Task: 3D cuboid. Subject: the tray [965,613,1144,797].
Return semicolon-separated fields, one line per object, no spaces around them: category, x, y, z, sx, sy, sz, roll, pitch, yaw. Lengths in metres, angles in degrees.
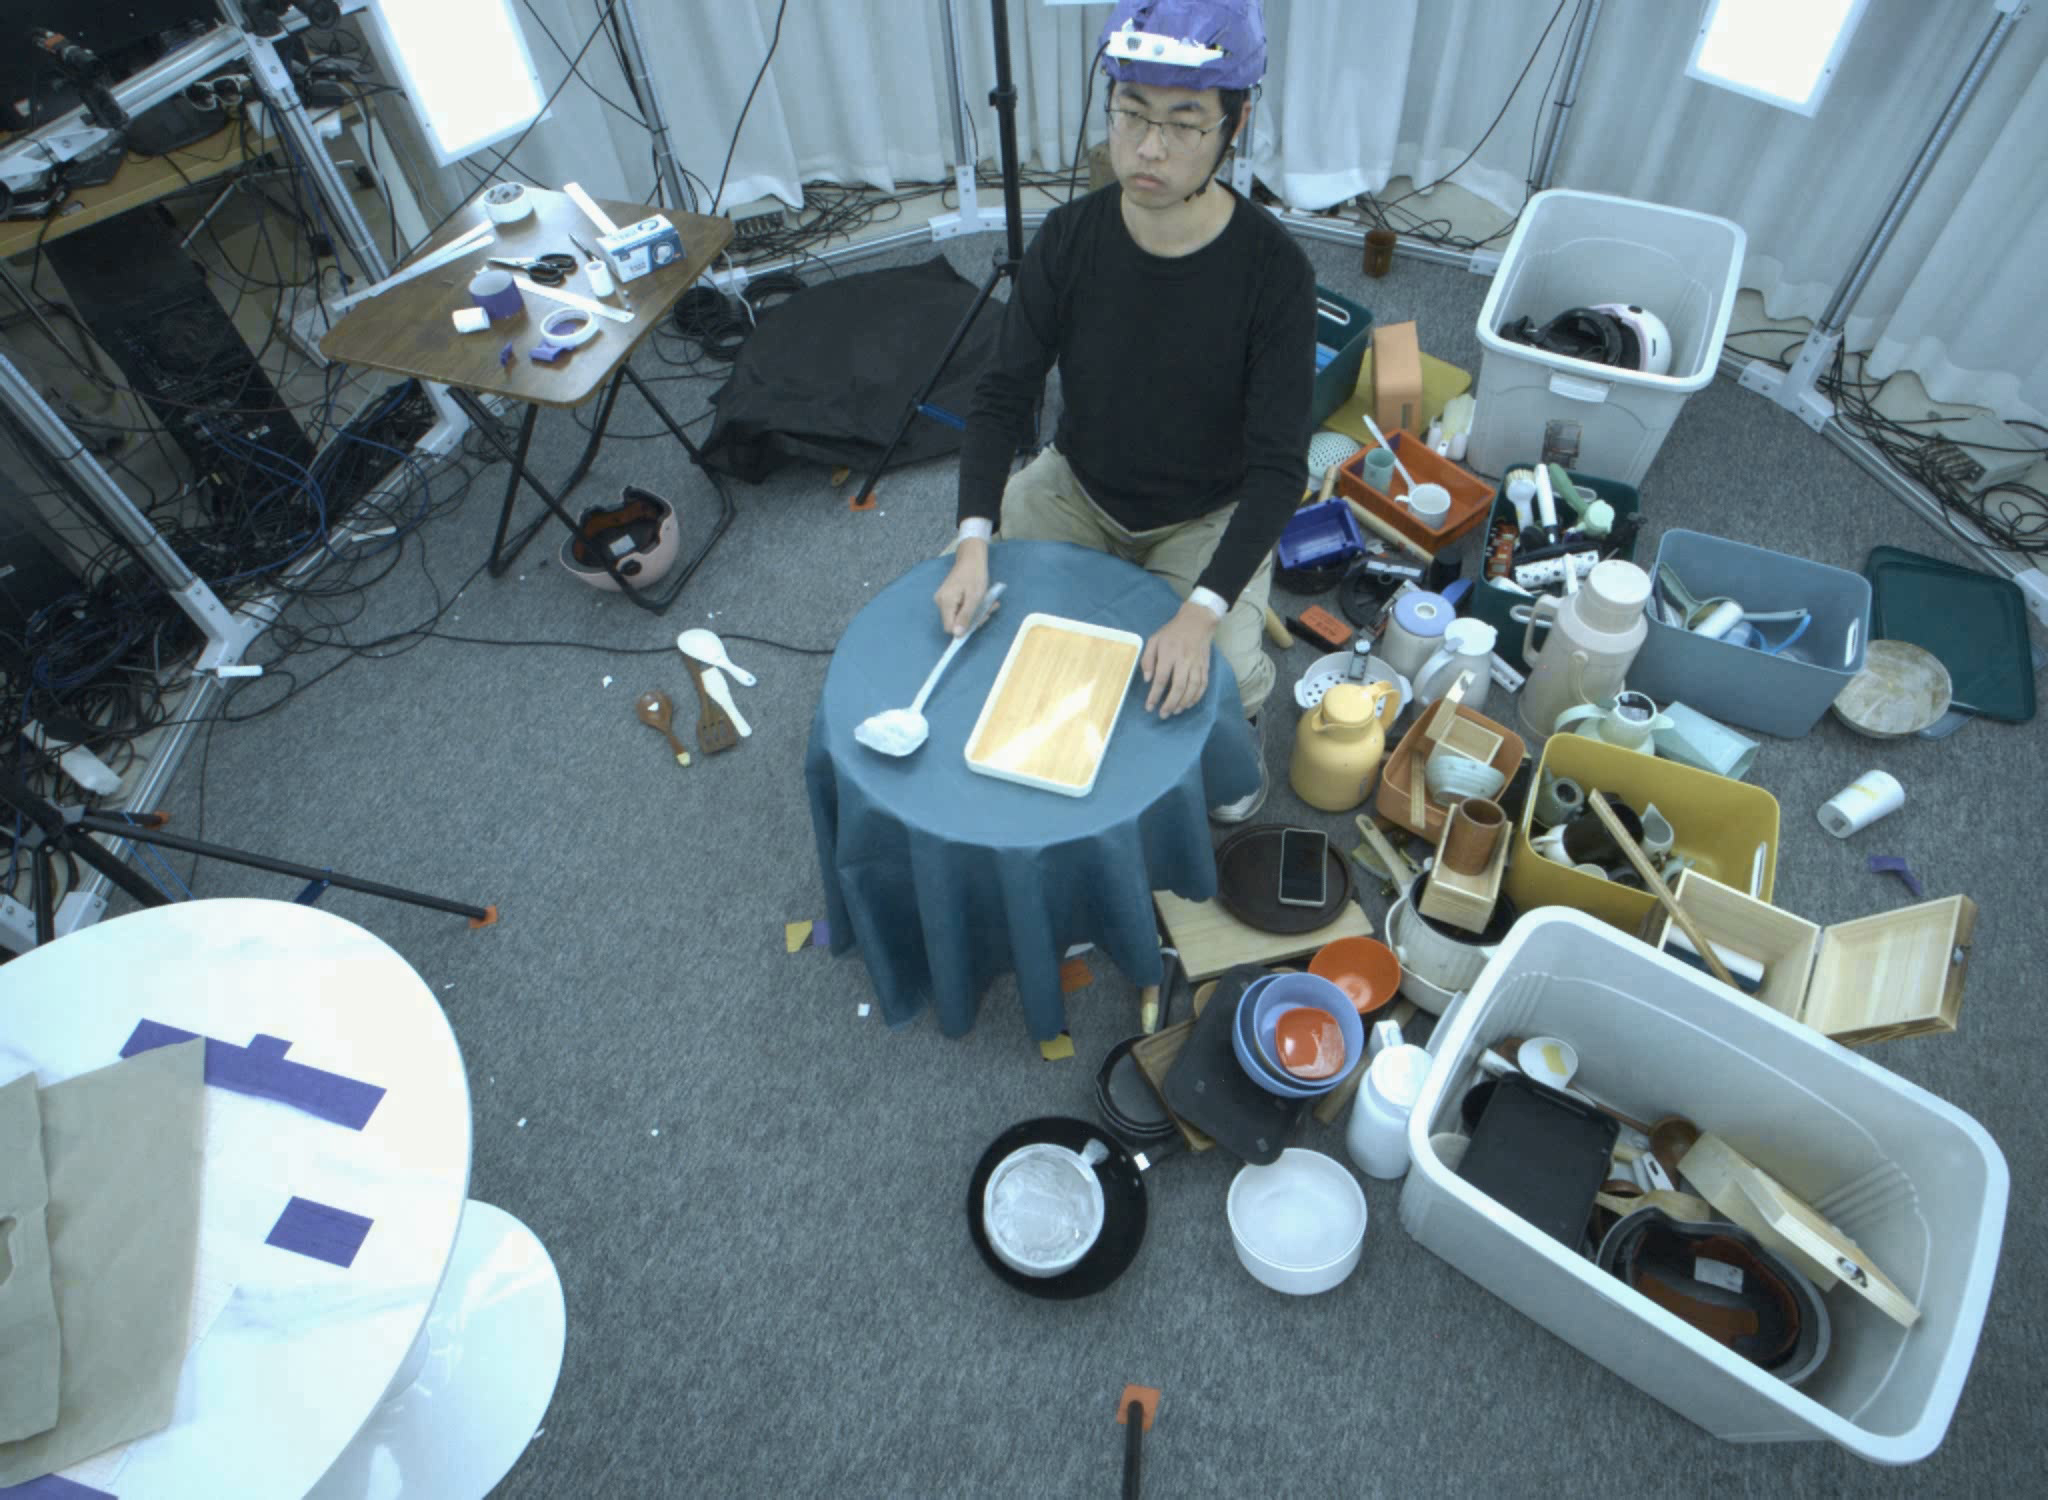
tray;0.049;-0.073;1.821;0.190;0.028;0.300;15;57;12

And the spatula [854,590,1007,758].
spatula;-0.124;-0.128;1.848;0.097;0.045;0.365;23;64;17
